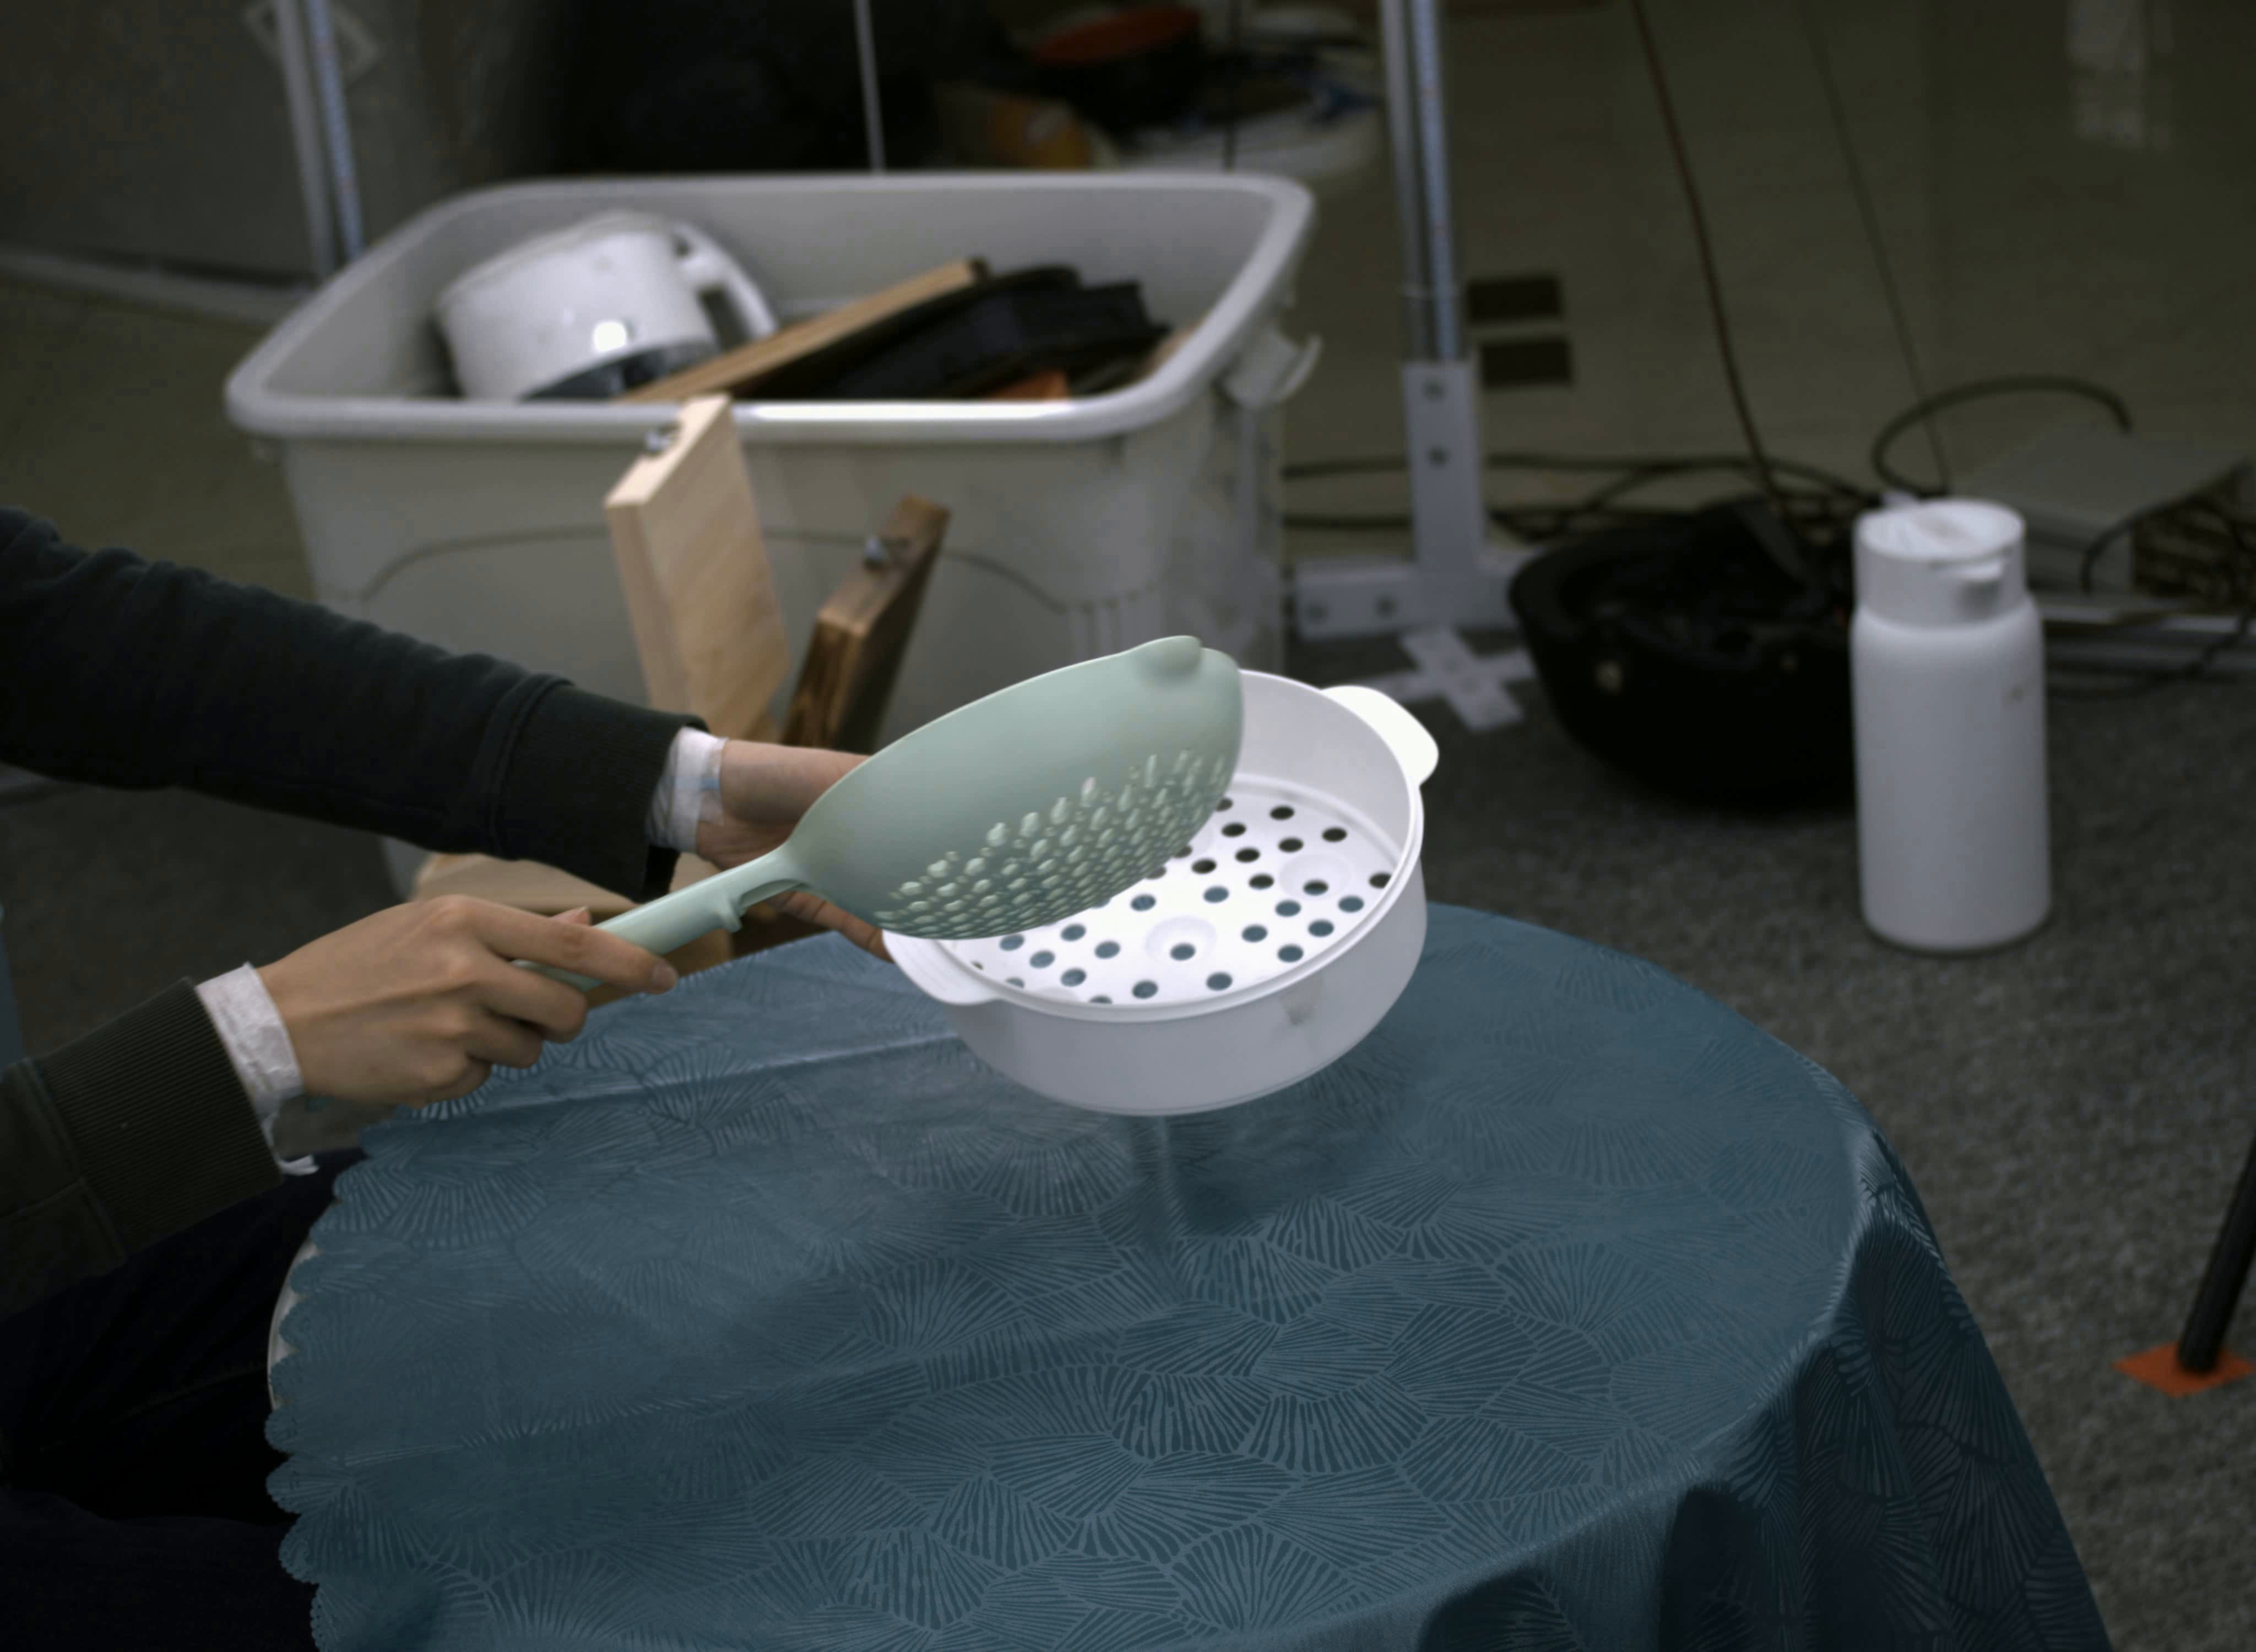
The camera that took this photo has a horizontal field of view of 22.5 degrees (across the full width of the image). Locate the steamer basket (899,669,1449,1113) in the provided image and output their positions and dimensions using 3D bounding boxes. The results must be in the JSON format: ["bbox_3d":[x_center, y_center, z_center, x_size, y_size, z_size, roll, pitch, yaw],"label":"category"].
[{"bbox_3d":[0.023,0.026,2.192,0.229,0.070,0.199,-28,43,-18],"label":"steamer basket"}]

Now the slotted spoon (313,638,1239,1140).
[{"bbox_3d":[-0.125,0.027,2.012,0.358,0.075,0.171,-16,-16,0],"label":"slotted spoon"}]
